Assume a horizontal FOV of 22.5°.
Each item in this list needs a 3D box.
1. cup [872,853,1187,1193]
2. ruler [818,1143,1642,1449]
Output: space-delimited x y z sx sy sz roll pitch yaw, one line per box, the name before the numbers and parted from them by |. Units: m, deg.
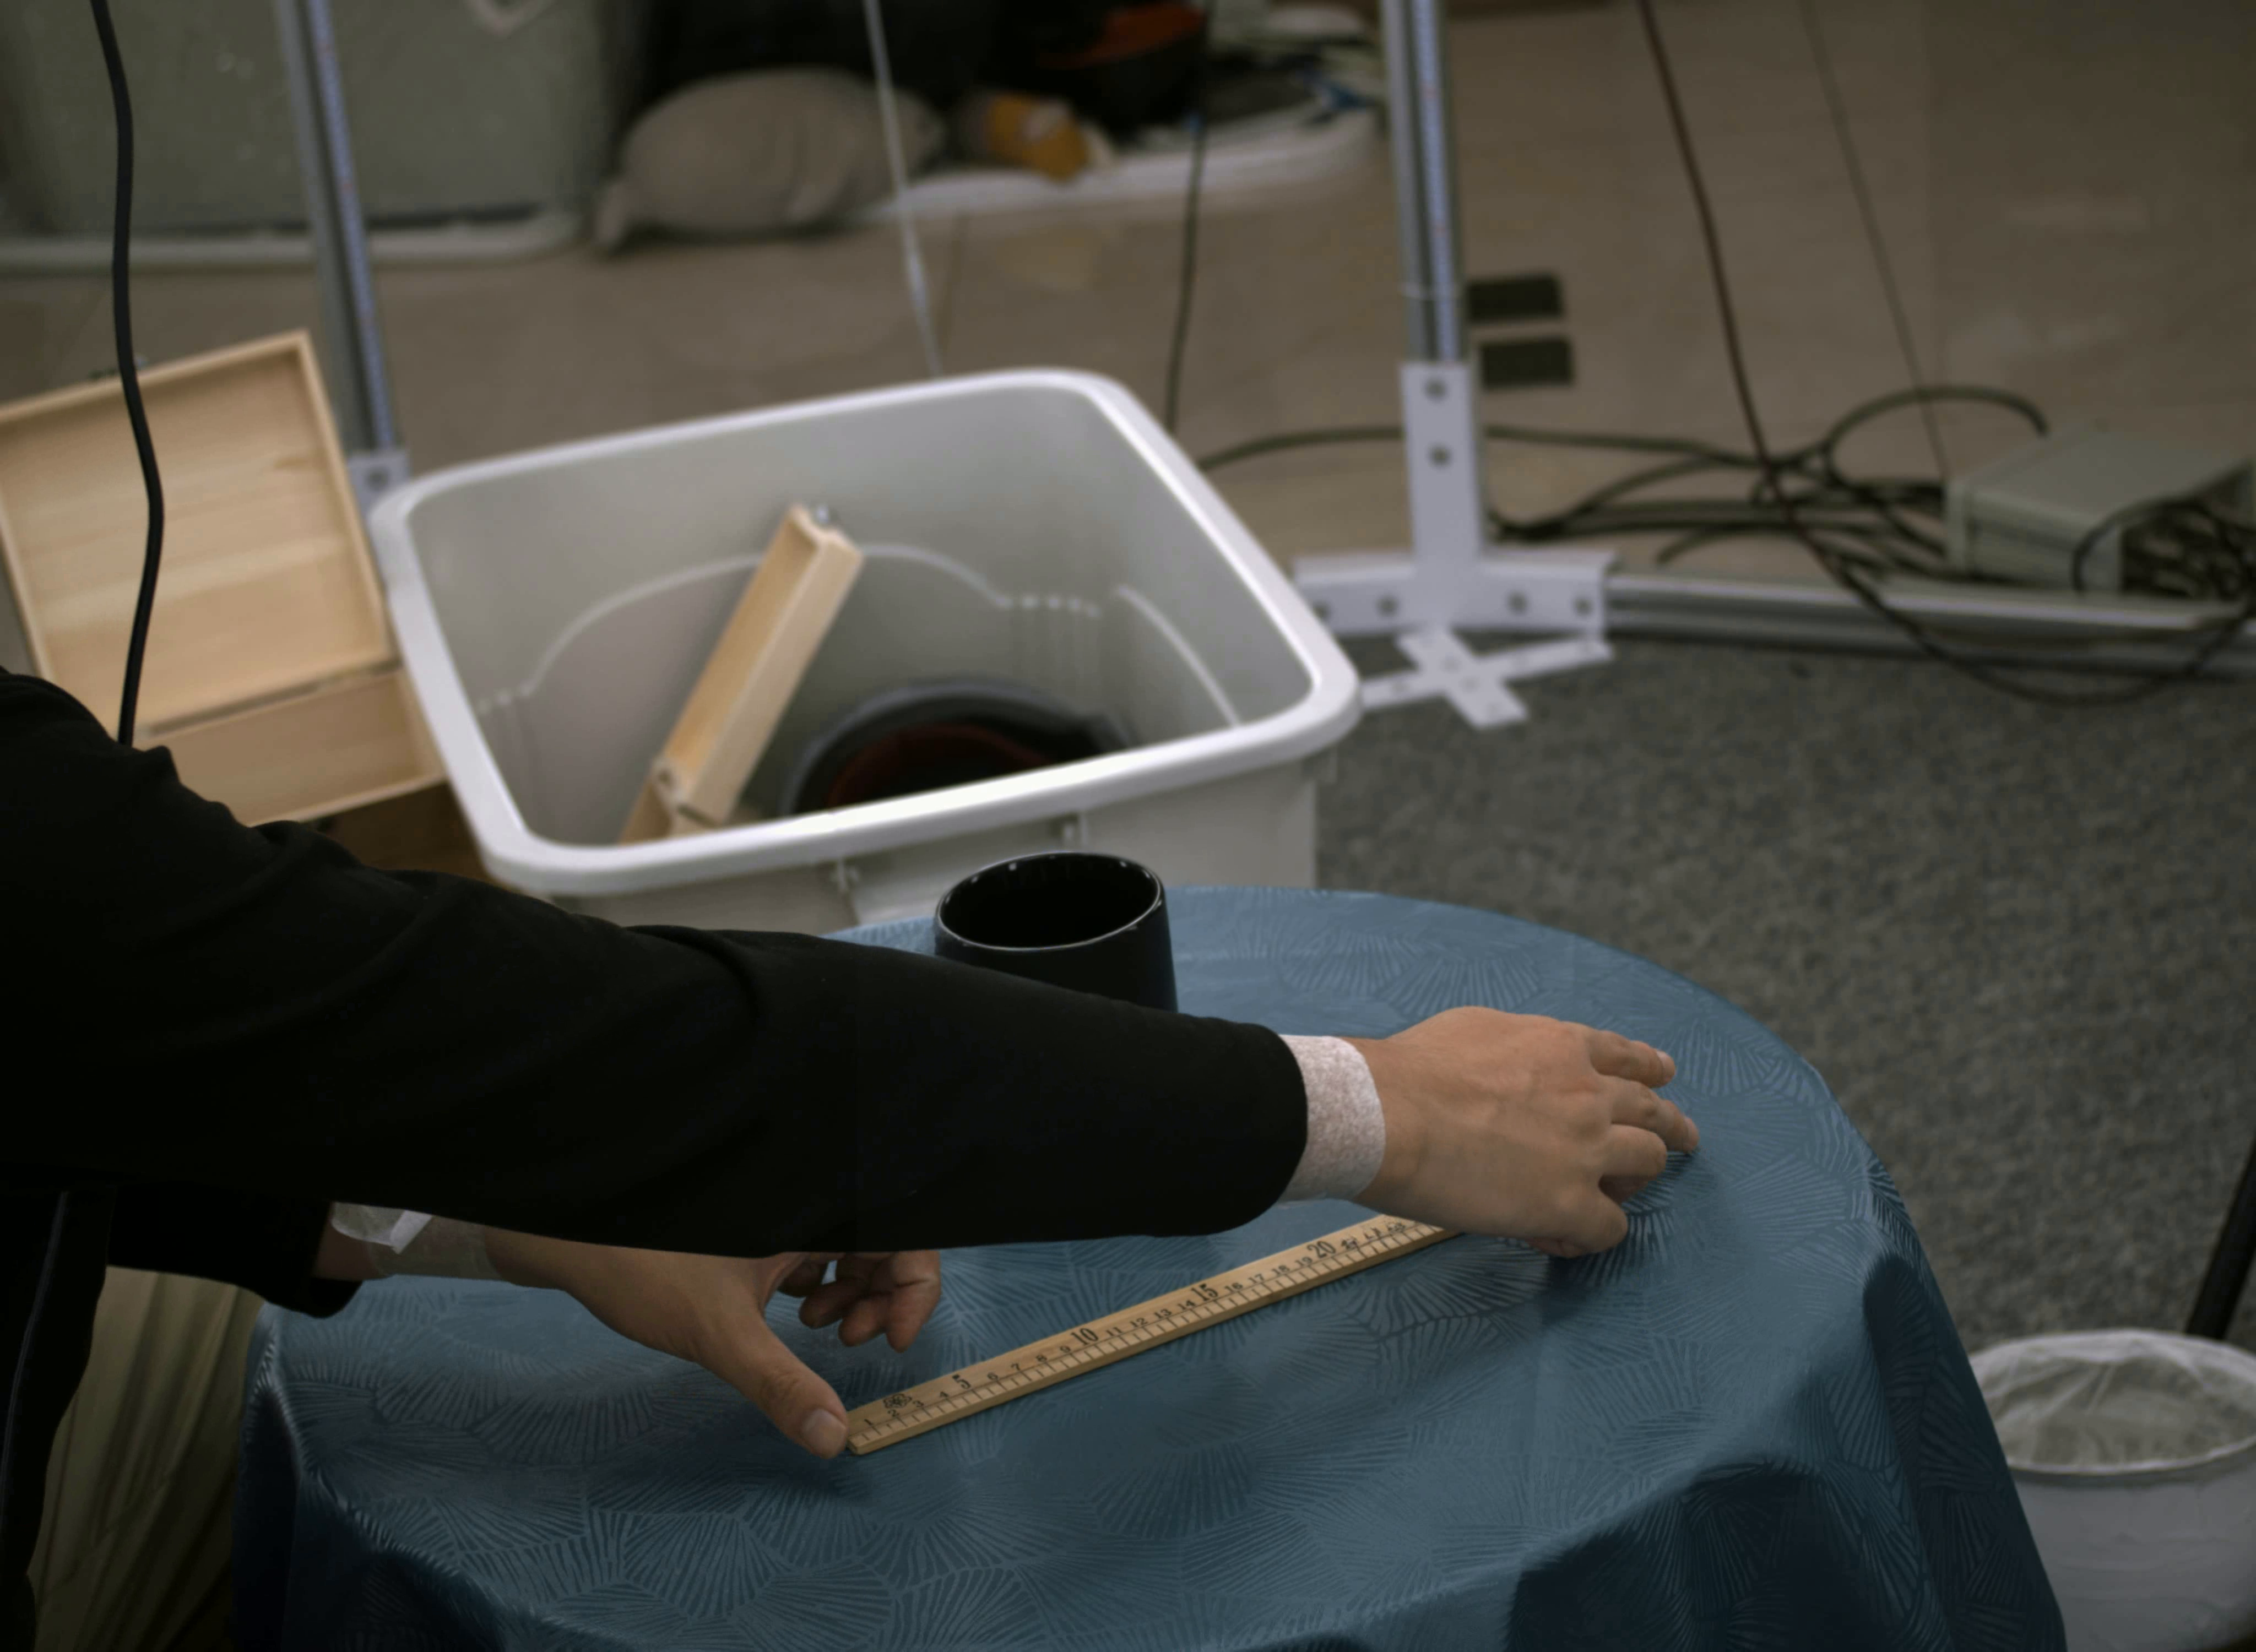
cup | -0.040 0.080 2.163 0.123 0.107 0.087 -18 29 -21
ruler | 0.041 0.167 2.067 0.330 0.022 0.027 -17 24 -22
